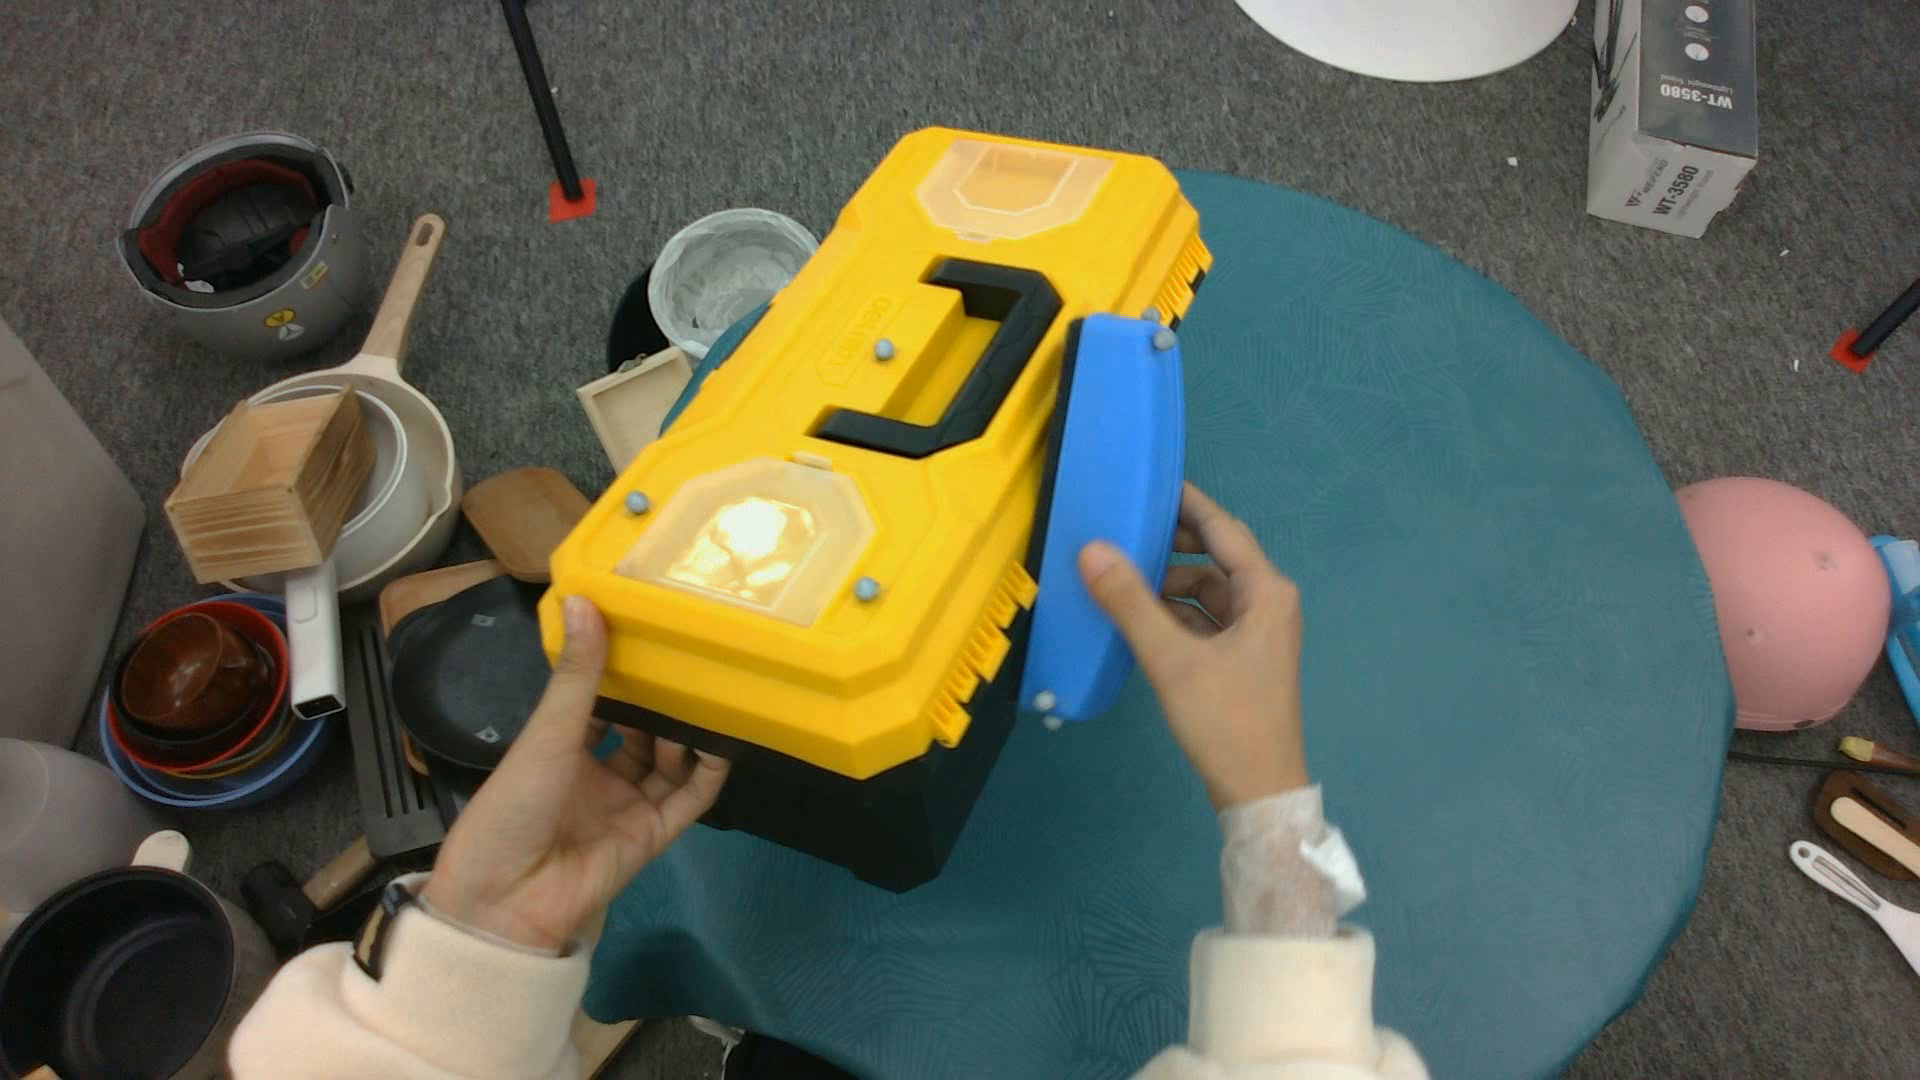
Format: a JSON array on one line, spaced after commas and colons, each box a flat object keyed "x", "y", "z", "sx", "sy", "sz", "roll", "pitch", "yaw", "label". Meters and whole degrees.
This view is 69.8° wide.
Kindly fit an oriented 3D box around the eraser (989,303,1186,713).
[{"x": 0.055, "y": -0.010, "z": 0.542, "sx": 0.047, "sy": 0.162, "sz": 0.054, "roll": 18, "pitch": 16, "yaw": 27, "label": "eraser"}]

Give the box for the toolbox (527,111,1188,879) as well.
[{"x": -0.025, "y": -0.034, "z": 0.635, "sx": 0.181, "sy": 0.172, "sz": 0.353, "roll": 15, "pitch": 51, "yaw": 20, "label": "toolbox"}]
